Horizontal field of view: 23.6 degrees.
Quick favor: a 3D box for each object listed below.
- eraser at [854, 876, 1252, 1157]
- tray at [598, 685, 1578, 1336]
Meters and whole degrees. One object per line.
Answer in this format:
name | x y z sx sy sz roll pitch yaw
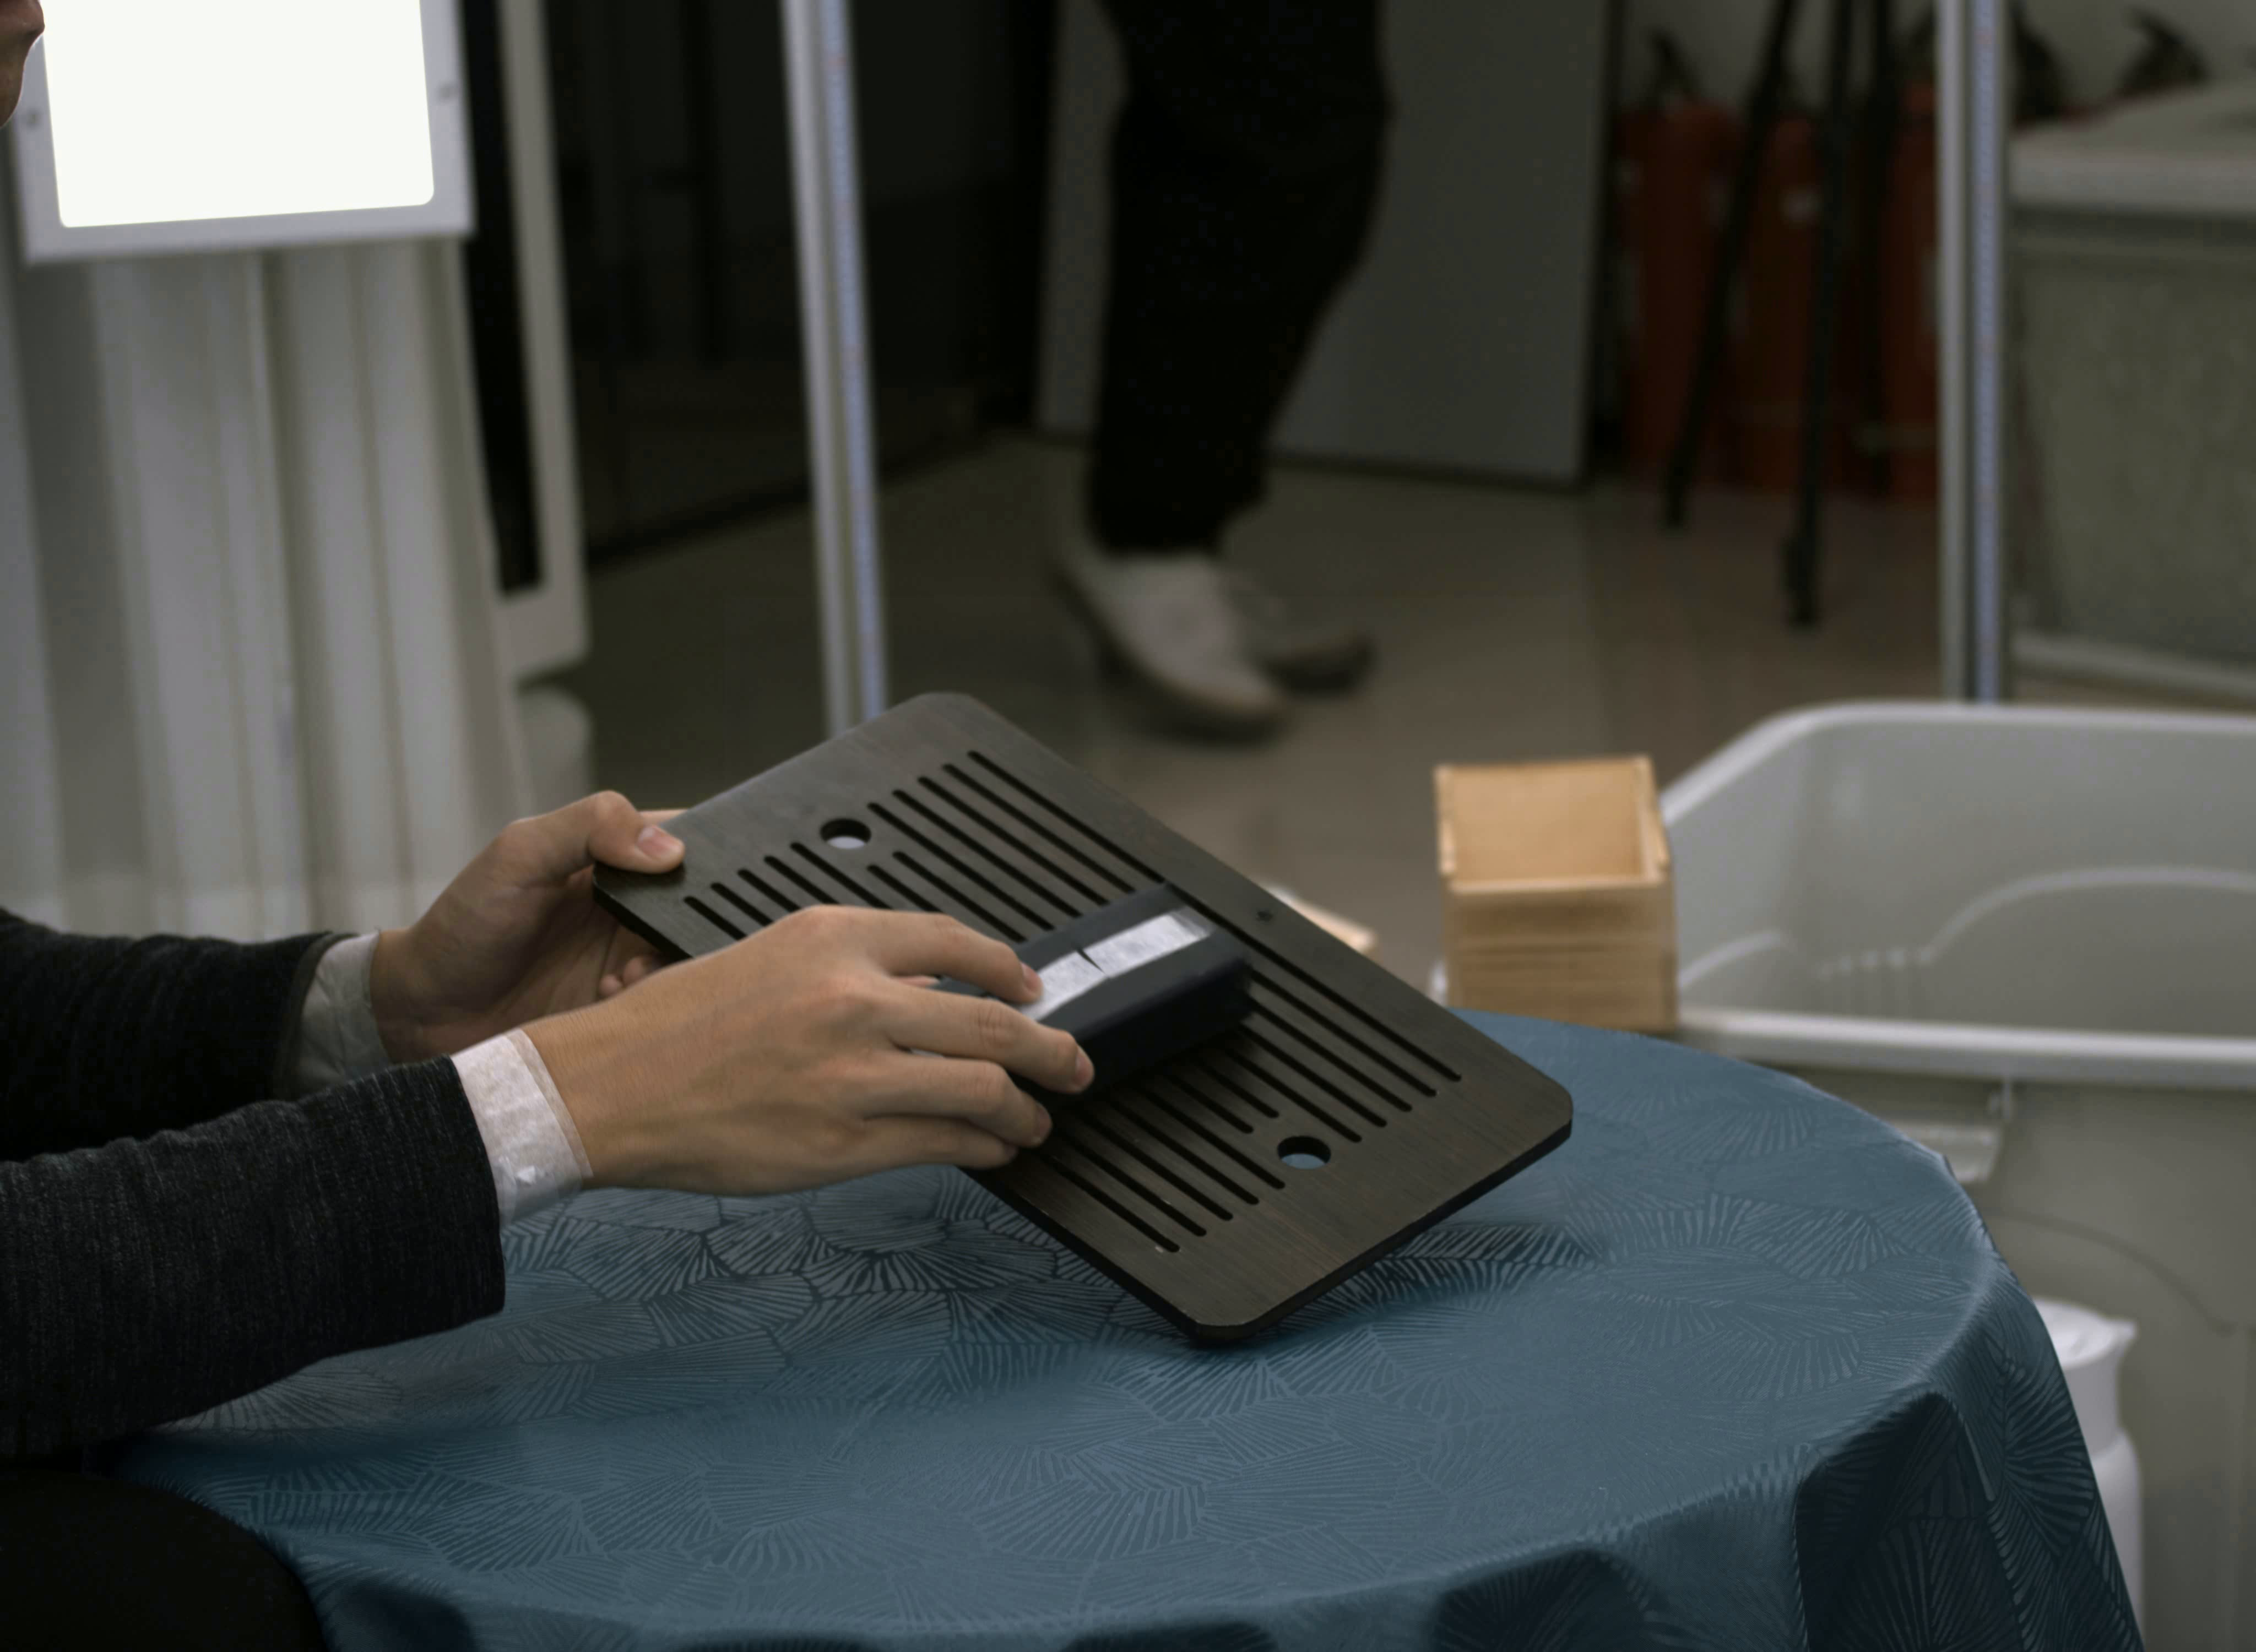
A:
eraser | -0.023 0.058 1.702 0.123 0.030 0.054 -26 42 -30
tray | -0.016 0.055 1.742 0.167 0.019 0.309 -28 46 -35
